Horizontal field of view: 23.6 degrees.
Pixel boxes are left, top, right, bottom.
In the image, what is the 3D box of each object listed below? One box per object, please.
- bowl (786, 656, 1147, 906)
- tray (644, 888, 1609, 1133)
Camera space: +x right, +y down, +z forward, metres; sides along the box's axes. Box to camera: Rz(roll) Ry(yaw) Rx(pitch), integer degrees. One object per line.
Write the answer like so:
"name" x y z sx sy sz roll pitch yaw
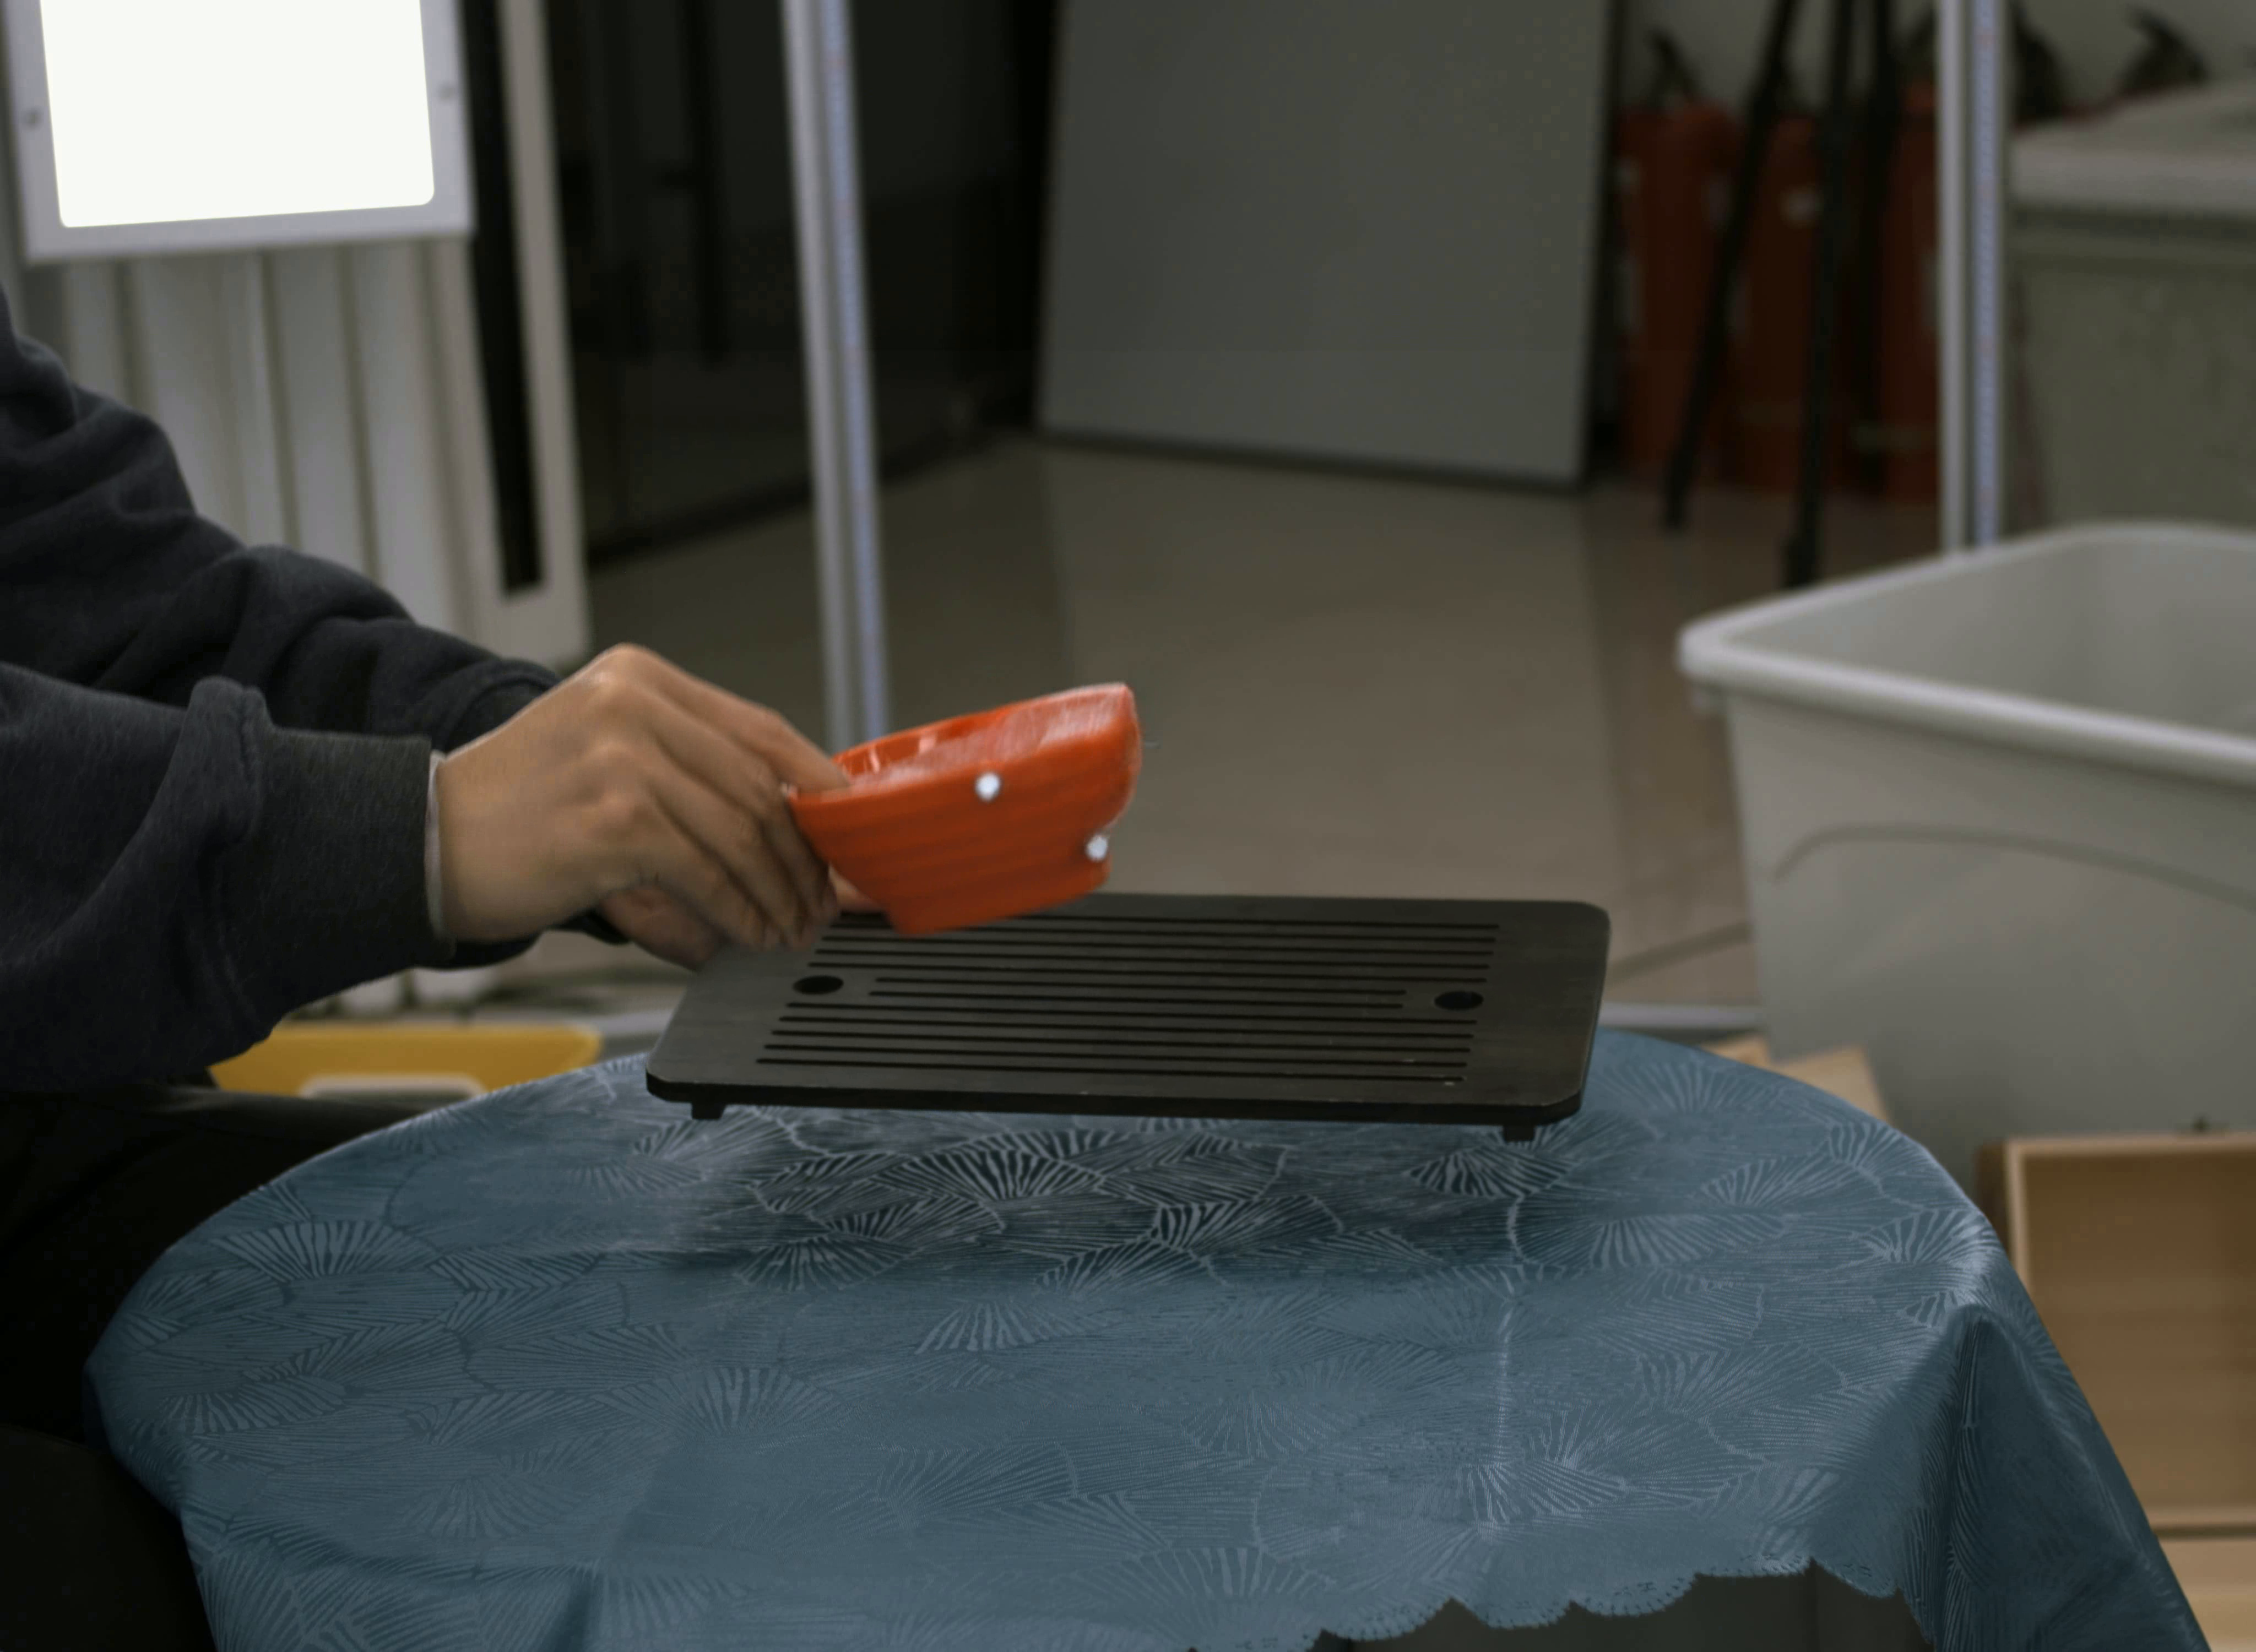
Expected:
"bowl" -0.043 -0.011 1.609 0.117 0.052 0.119 -13 9 1
"tray" 0.004 0.060 1.779 0.304 0.019 0.169 0 21 11
